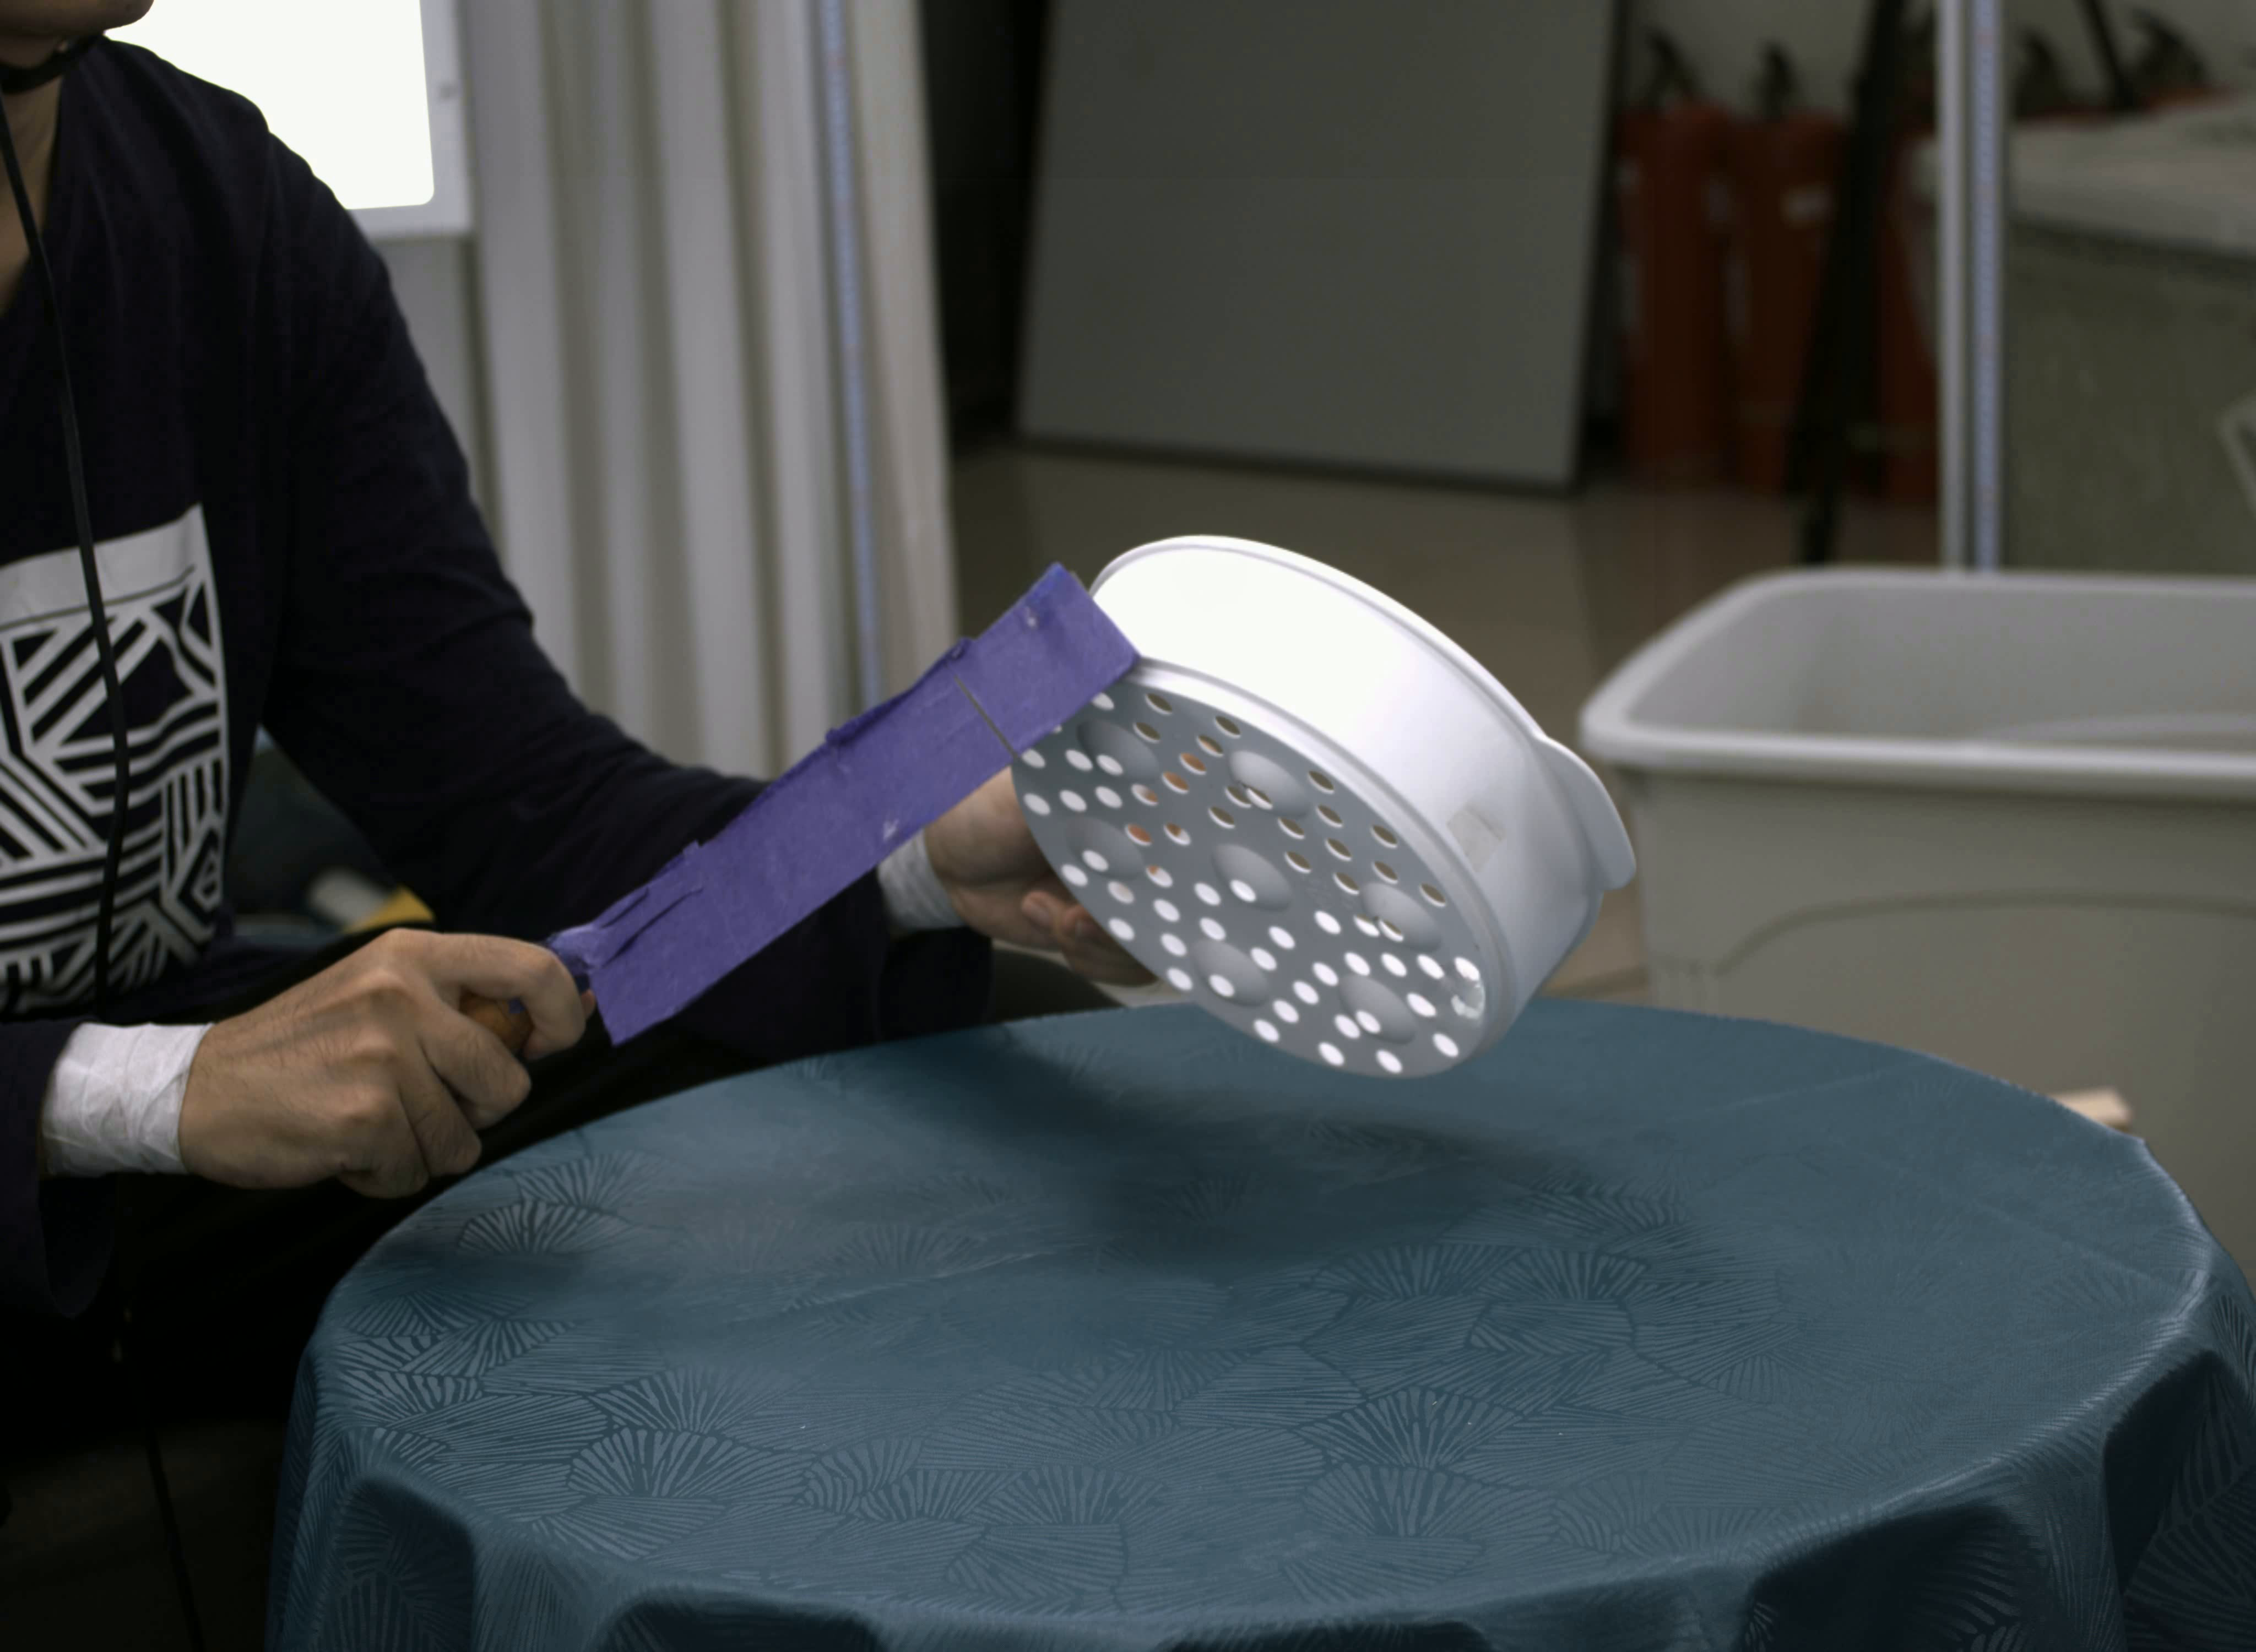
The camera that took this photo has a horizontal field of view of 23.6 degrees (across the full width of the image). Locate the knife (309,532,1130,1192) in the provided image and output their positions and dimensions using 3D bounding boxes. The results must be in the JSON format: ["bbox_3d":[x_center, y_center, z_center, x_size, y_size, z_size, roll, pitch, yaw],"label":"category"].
[{"bbox_3d":[-0.131,0.017,1.731,0.315,0.032,0.105,-41,24,2],"label":"knife"}]

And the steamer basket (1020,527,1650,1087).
[{"bbox_3d":[0.057,-0.001,1.751,0.232,0.201,0.069,11,51,39],"label":"steamer basket"}]
